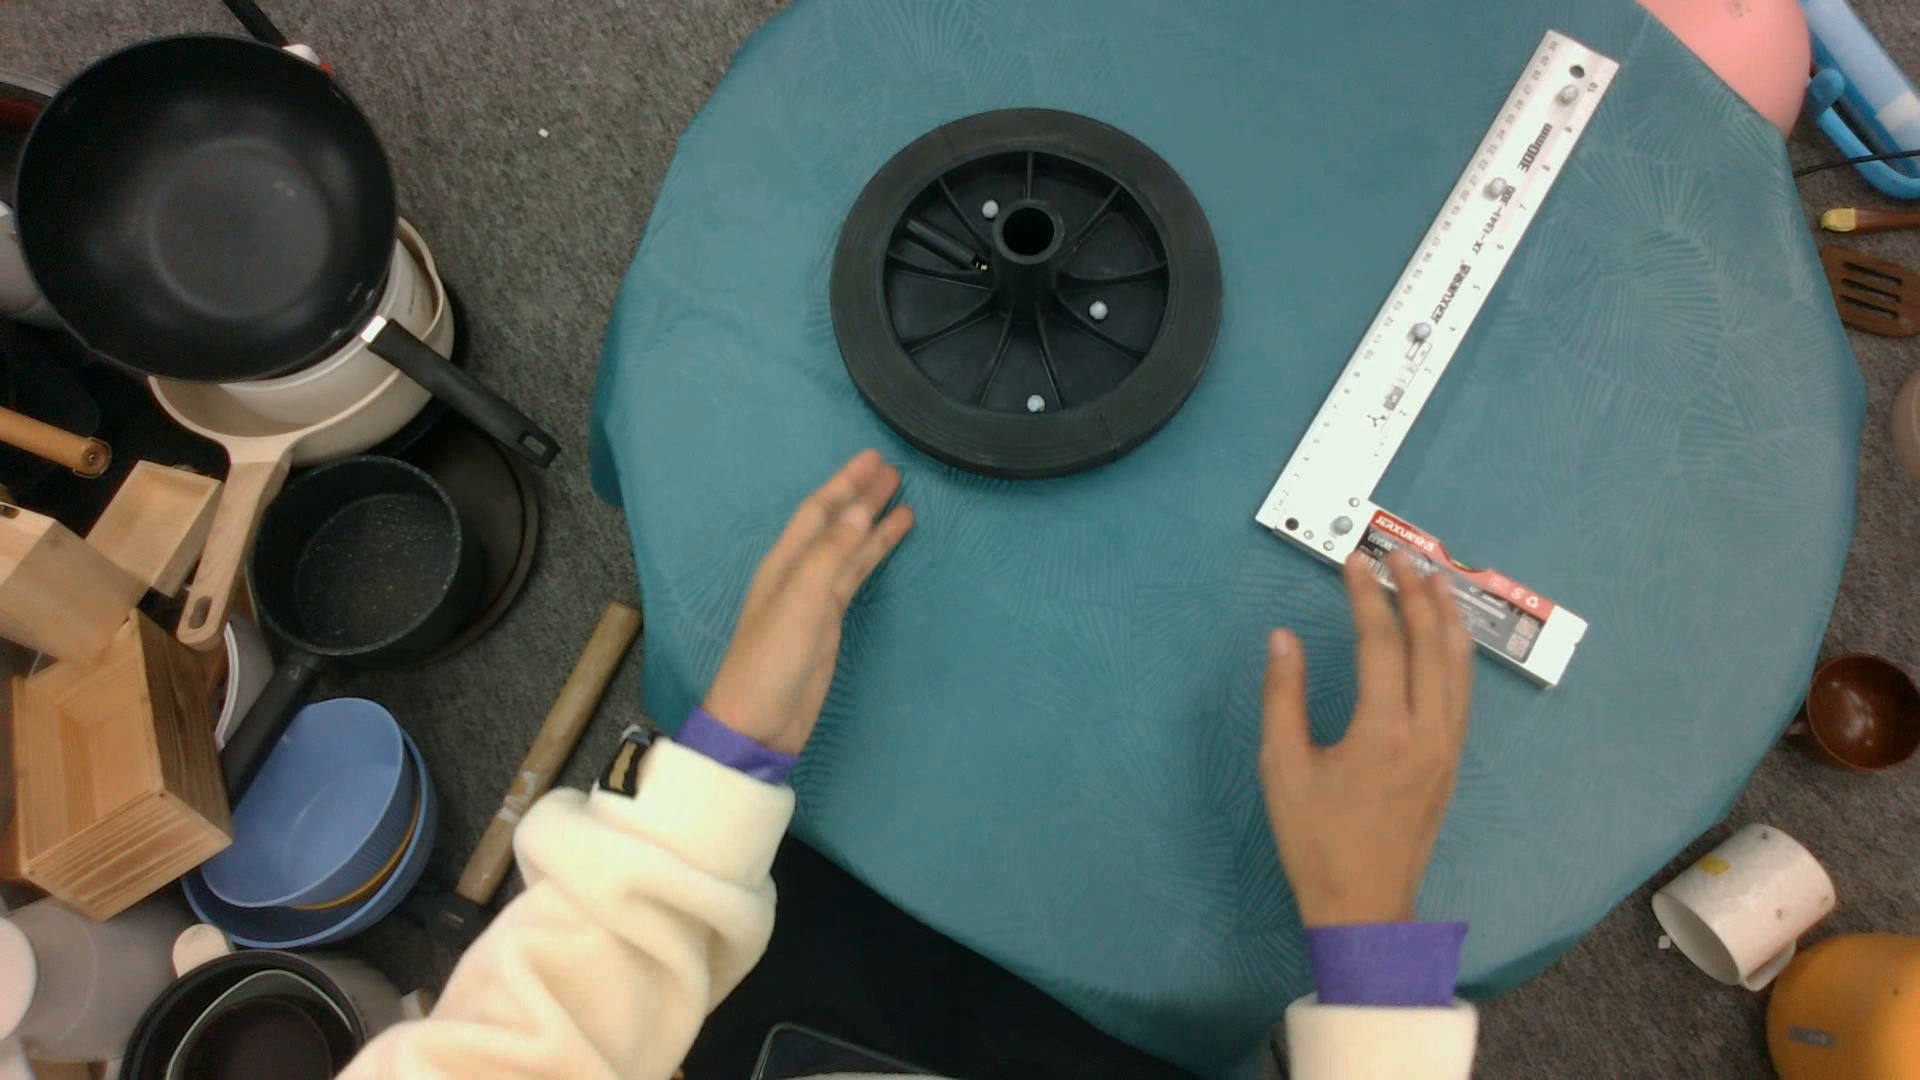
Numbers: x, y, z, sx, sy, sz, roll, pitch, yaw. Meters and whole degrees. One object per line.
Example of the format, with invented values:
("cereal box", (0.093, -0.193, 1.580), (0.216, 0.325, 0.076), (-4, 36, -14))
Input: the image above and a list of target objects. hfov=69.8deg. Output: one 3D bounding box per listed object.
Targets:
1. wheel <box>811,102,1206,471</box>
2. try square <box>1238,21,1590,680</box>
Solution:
("wheel", (0.023, -0.130, 0.644), (0.190, 0.079, 0.188), (9, 76, 3))
("try square", (0.273, -0.101, 0.673), (0.152, 0.016, 0.313), (32, 77, 4))
